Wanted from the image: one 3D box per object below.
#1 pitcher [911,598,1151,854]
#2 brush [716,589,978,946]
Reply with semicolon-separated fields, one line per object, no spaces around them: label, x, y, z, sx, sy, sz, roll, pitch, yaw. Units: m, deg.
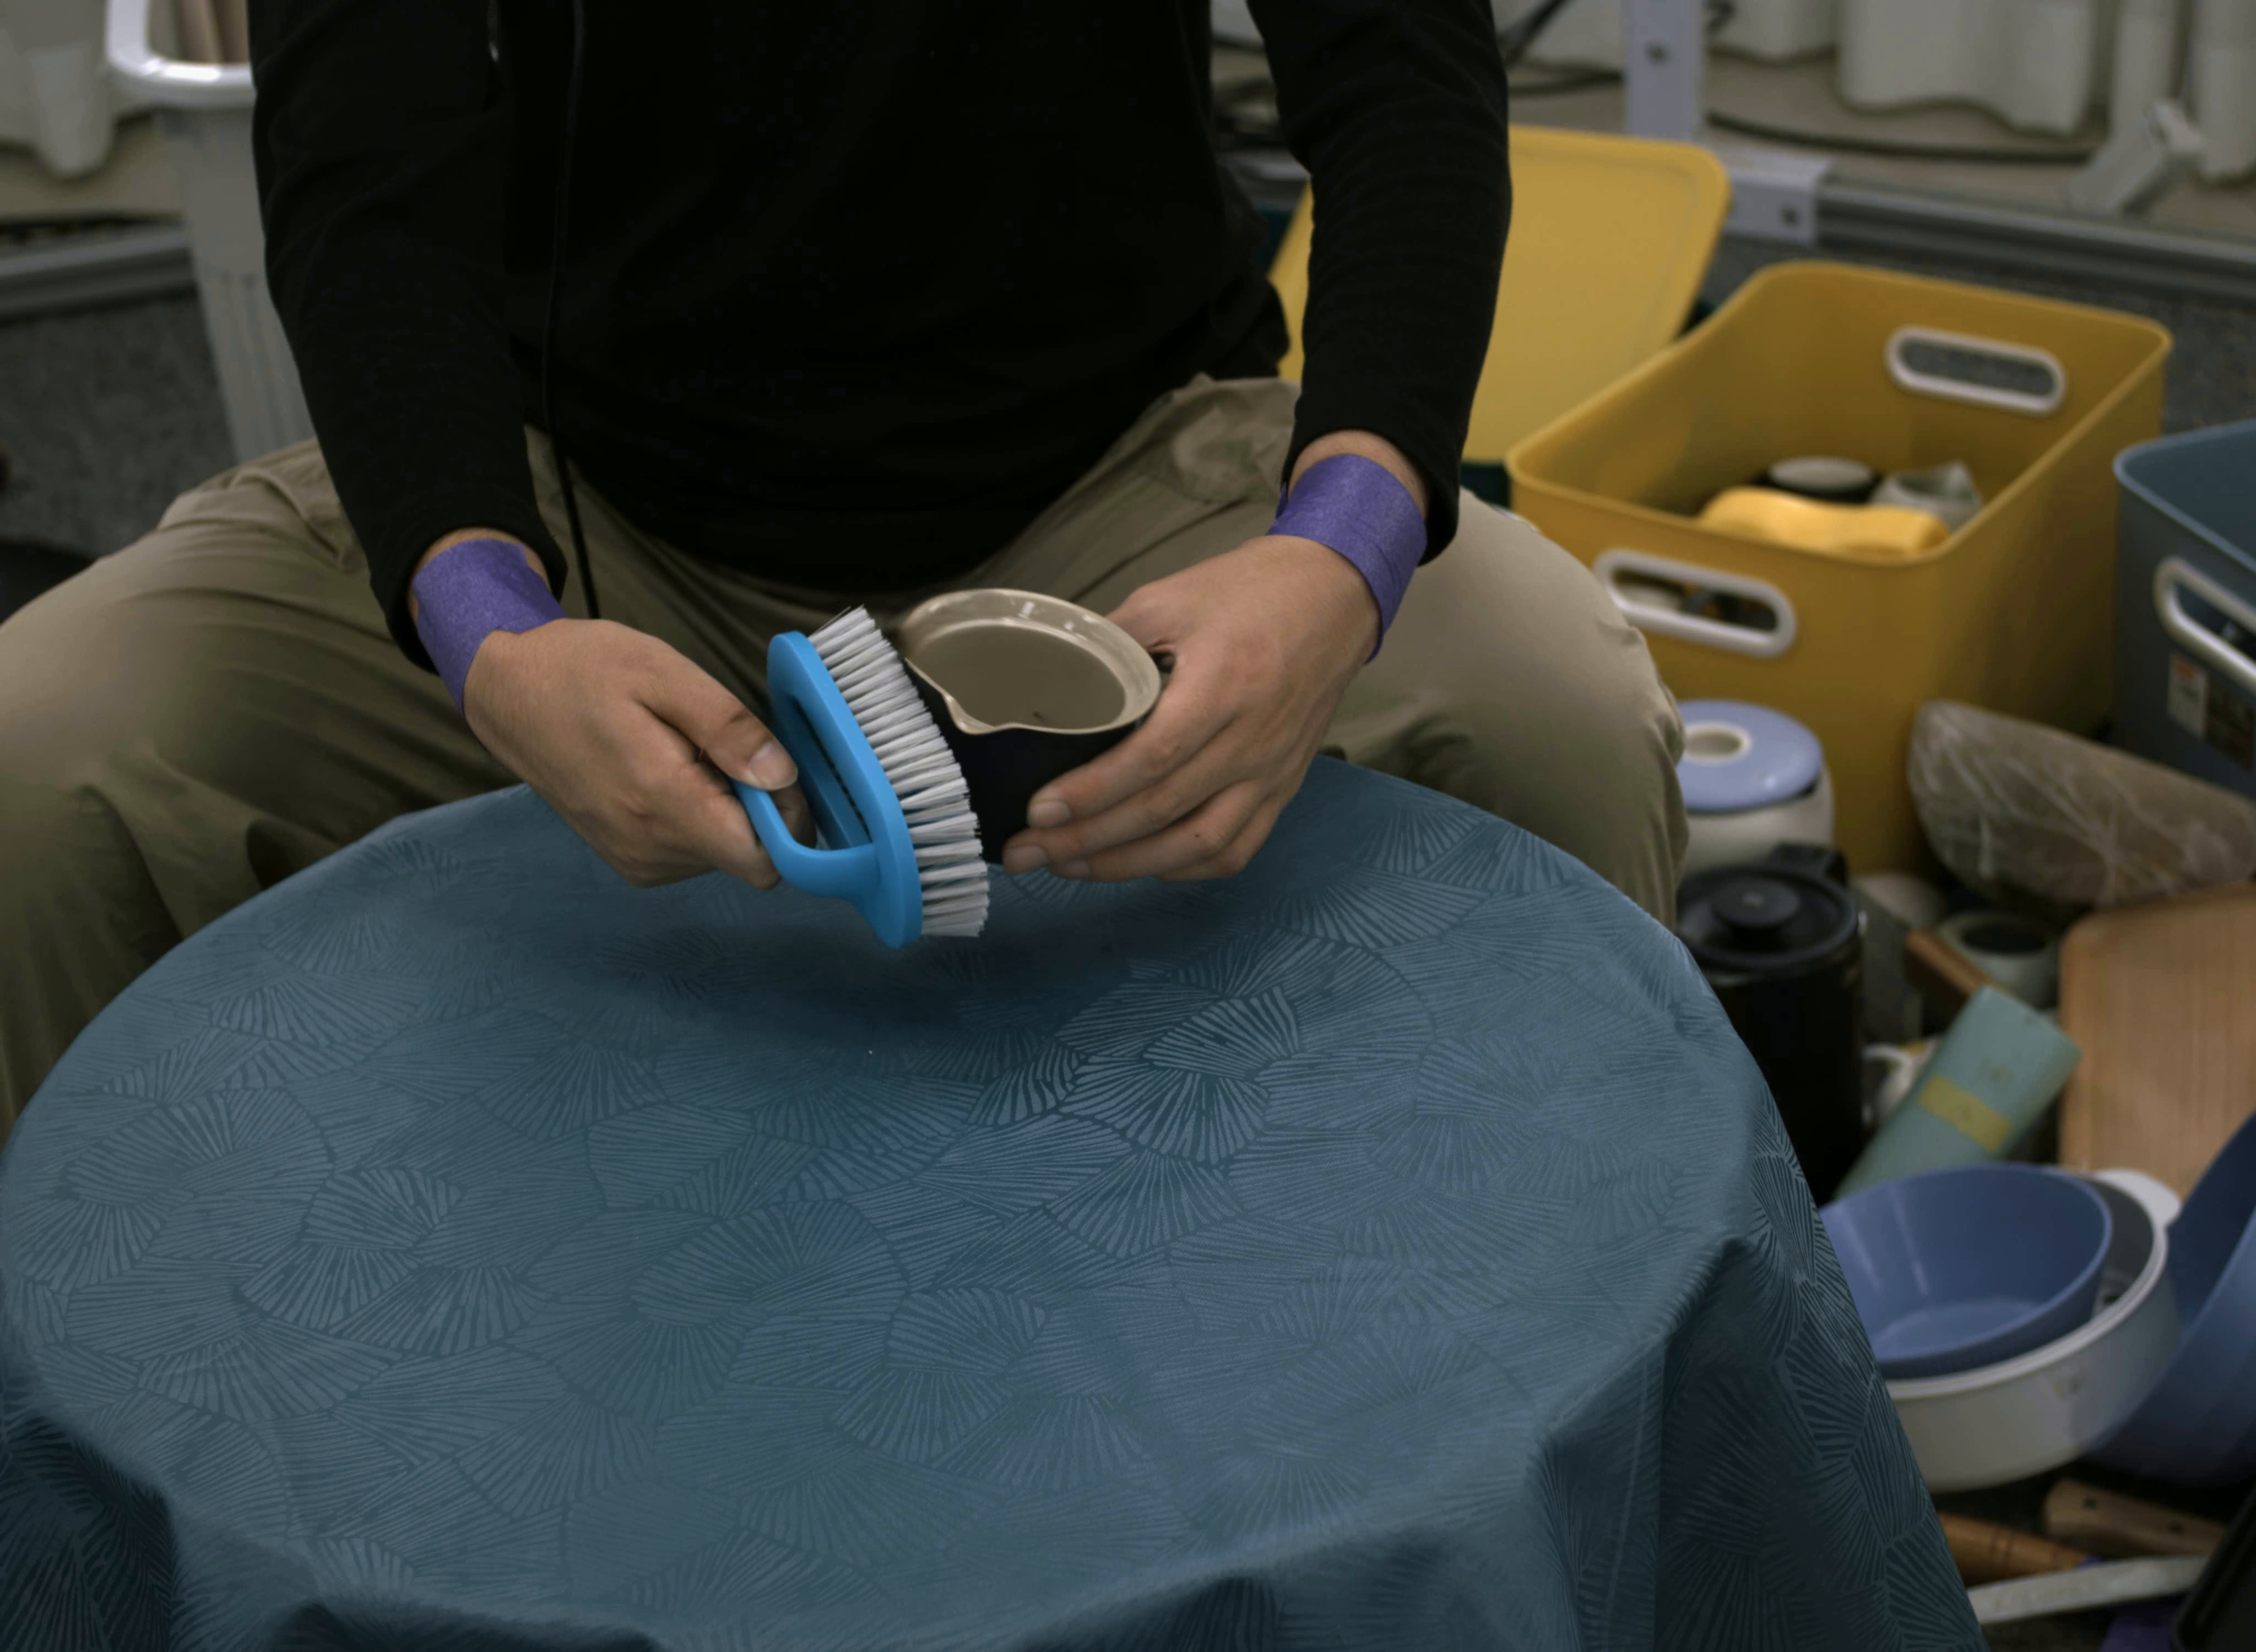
pitcher;-0.040;-0.031;1.980;0.083;0.070;0.097;27;35;18
brush;-0.104;-0.014;1.958;0.064;0.083;0.144;-17;47;-13
